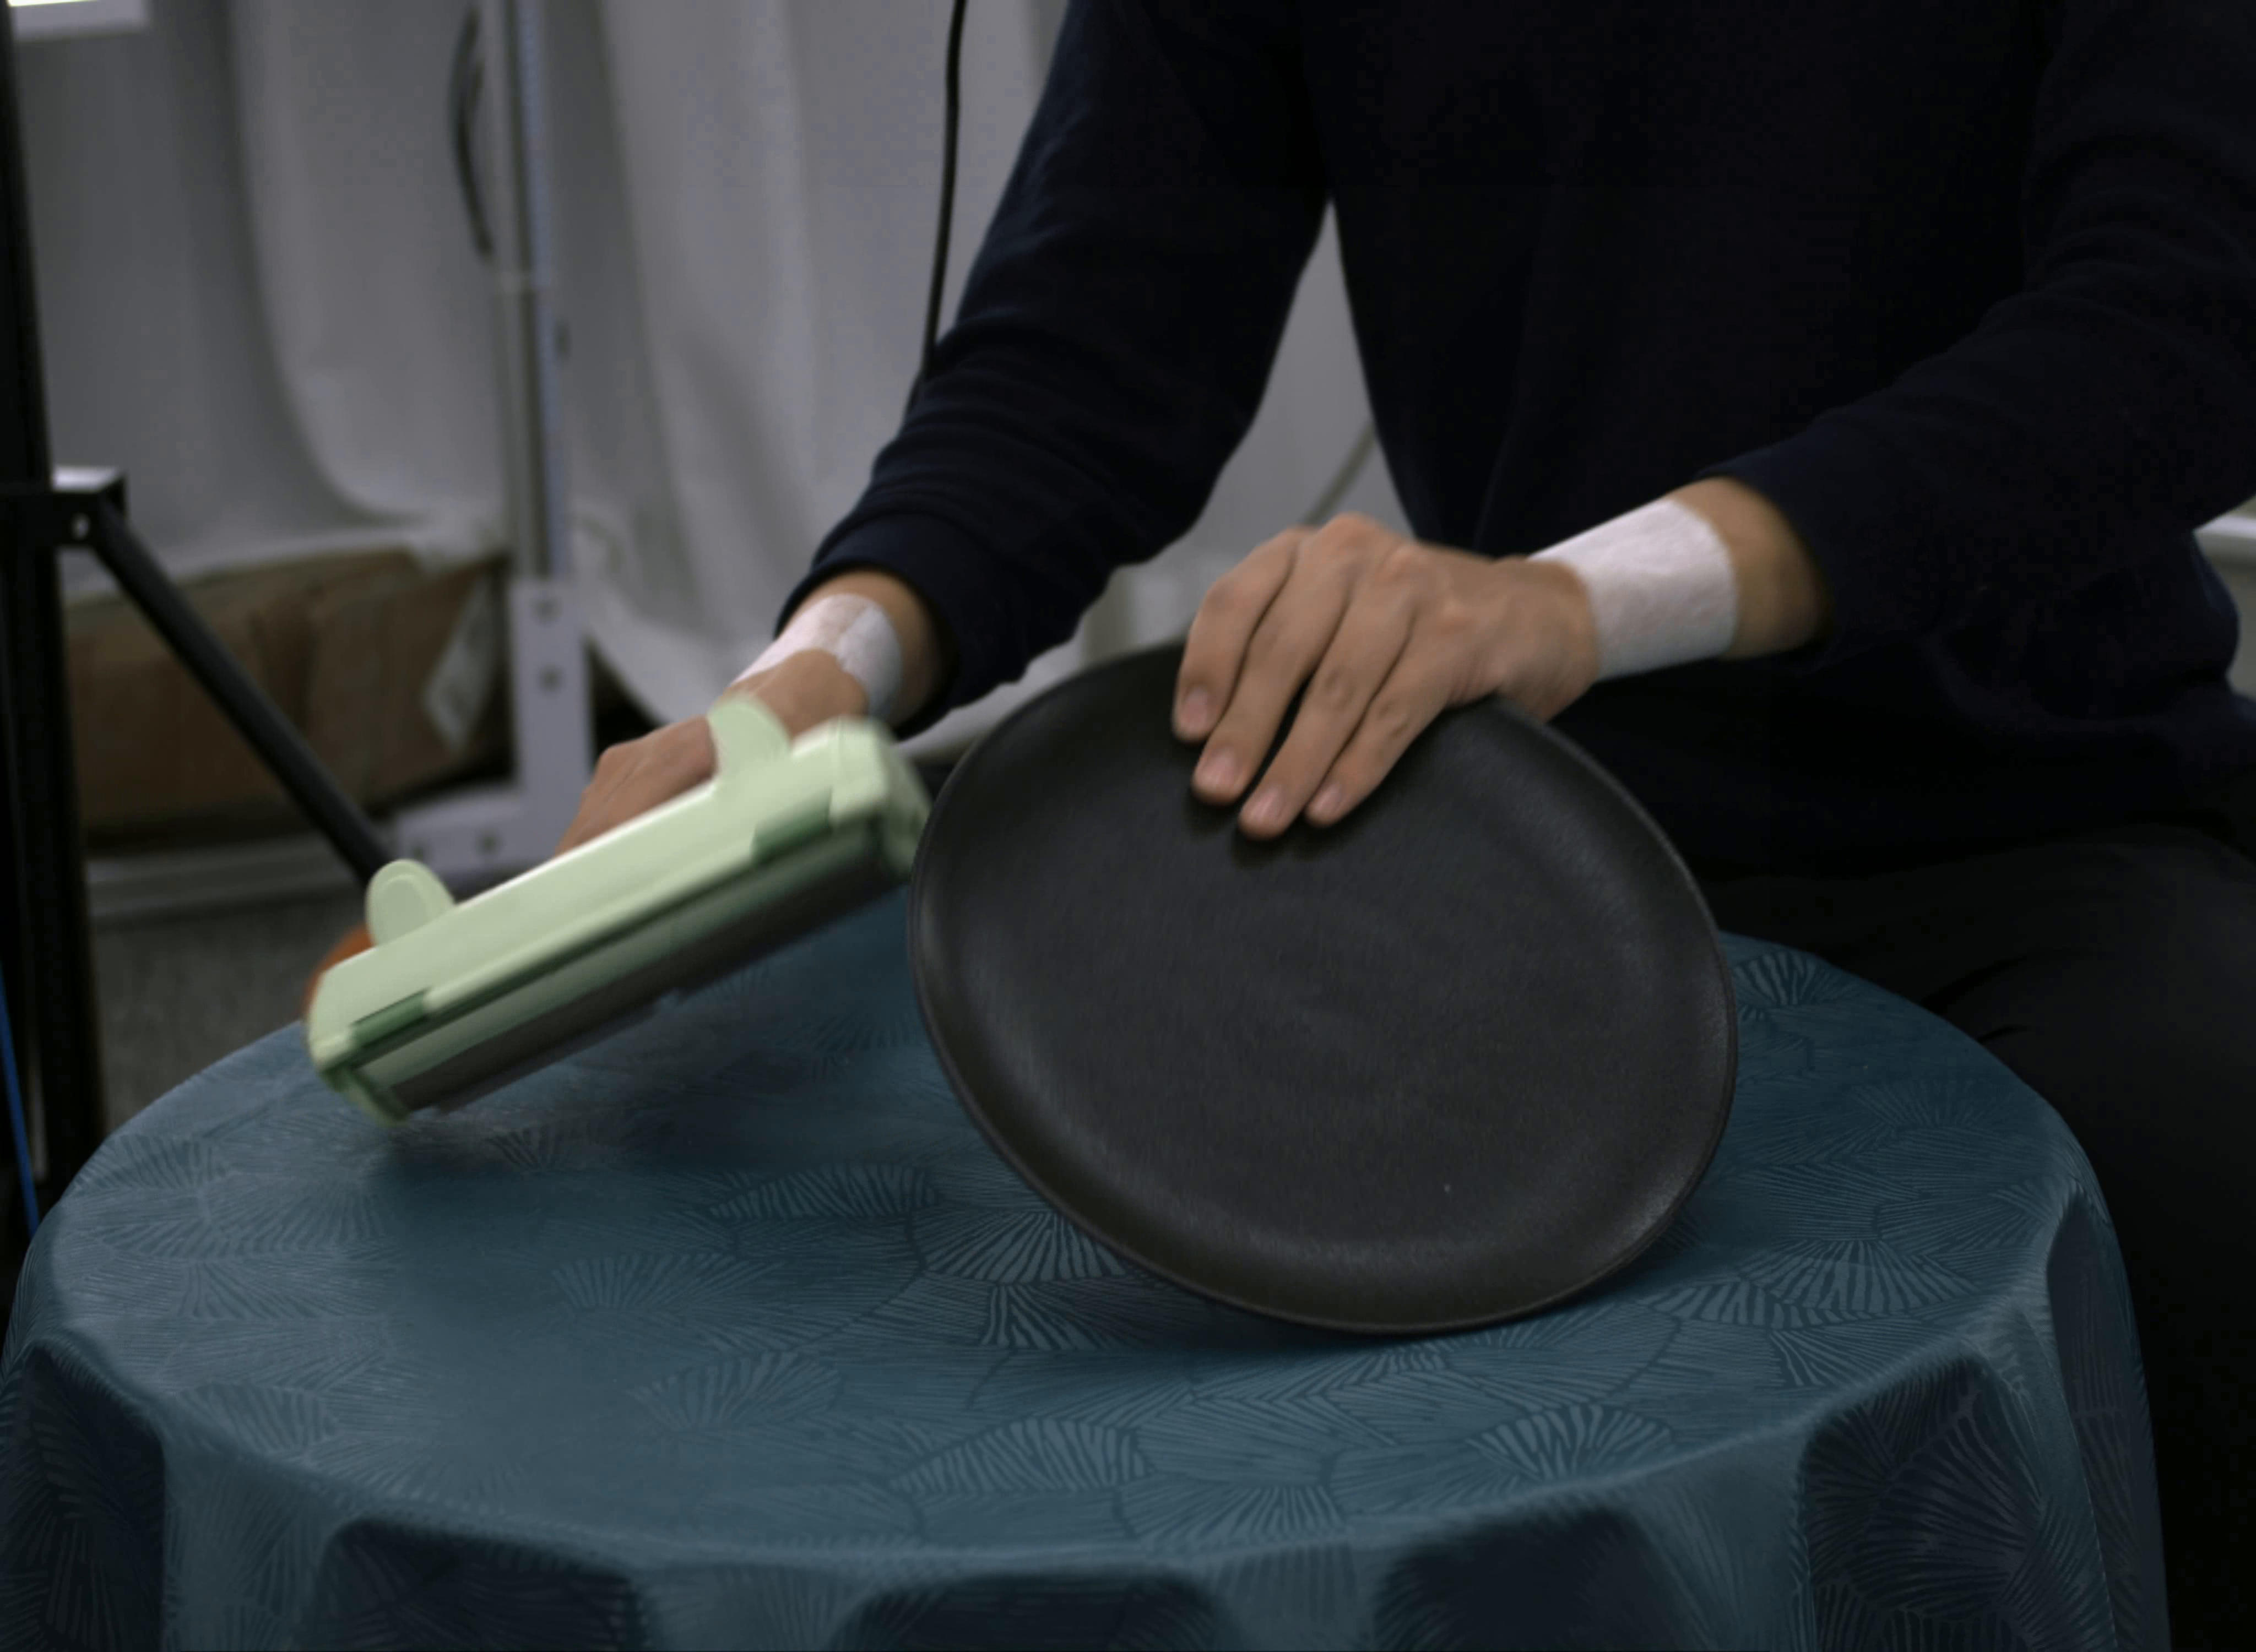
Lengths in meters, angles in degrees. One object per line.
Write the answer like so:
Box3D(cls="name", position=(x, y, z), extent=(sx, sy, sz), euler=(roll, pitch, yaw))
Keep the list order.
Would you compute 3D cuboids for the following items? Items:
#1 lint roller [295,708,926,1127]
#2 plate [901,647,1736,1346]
Box3D(cls="lint roller", position=(-0.158, 0.010, 1.667), extent=(0.199, 0.081, 0.184), euler=(-23, 16, 9))
Box3D(cls="plate", position=(0.054, 0.049, 1.506), extent=(0.241, 0.023, 0.247), euler=(6, 50, -8))
